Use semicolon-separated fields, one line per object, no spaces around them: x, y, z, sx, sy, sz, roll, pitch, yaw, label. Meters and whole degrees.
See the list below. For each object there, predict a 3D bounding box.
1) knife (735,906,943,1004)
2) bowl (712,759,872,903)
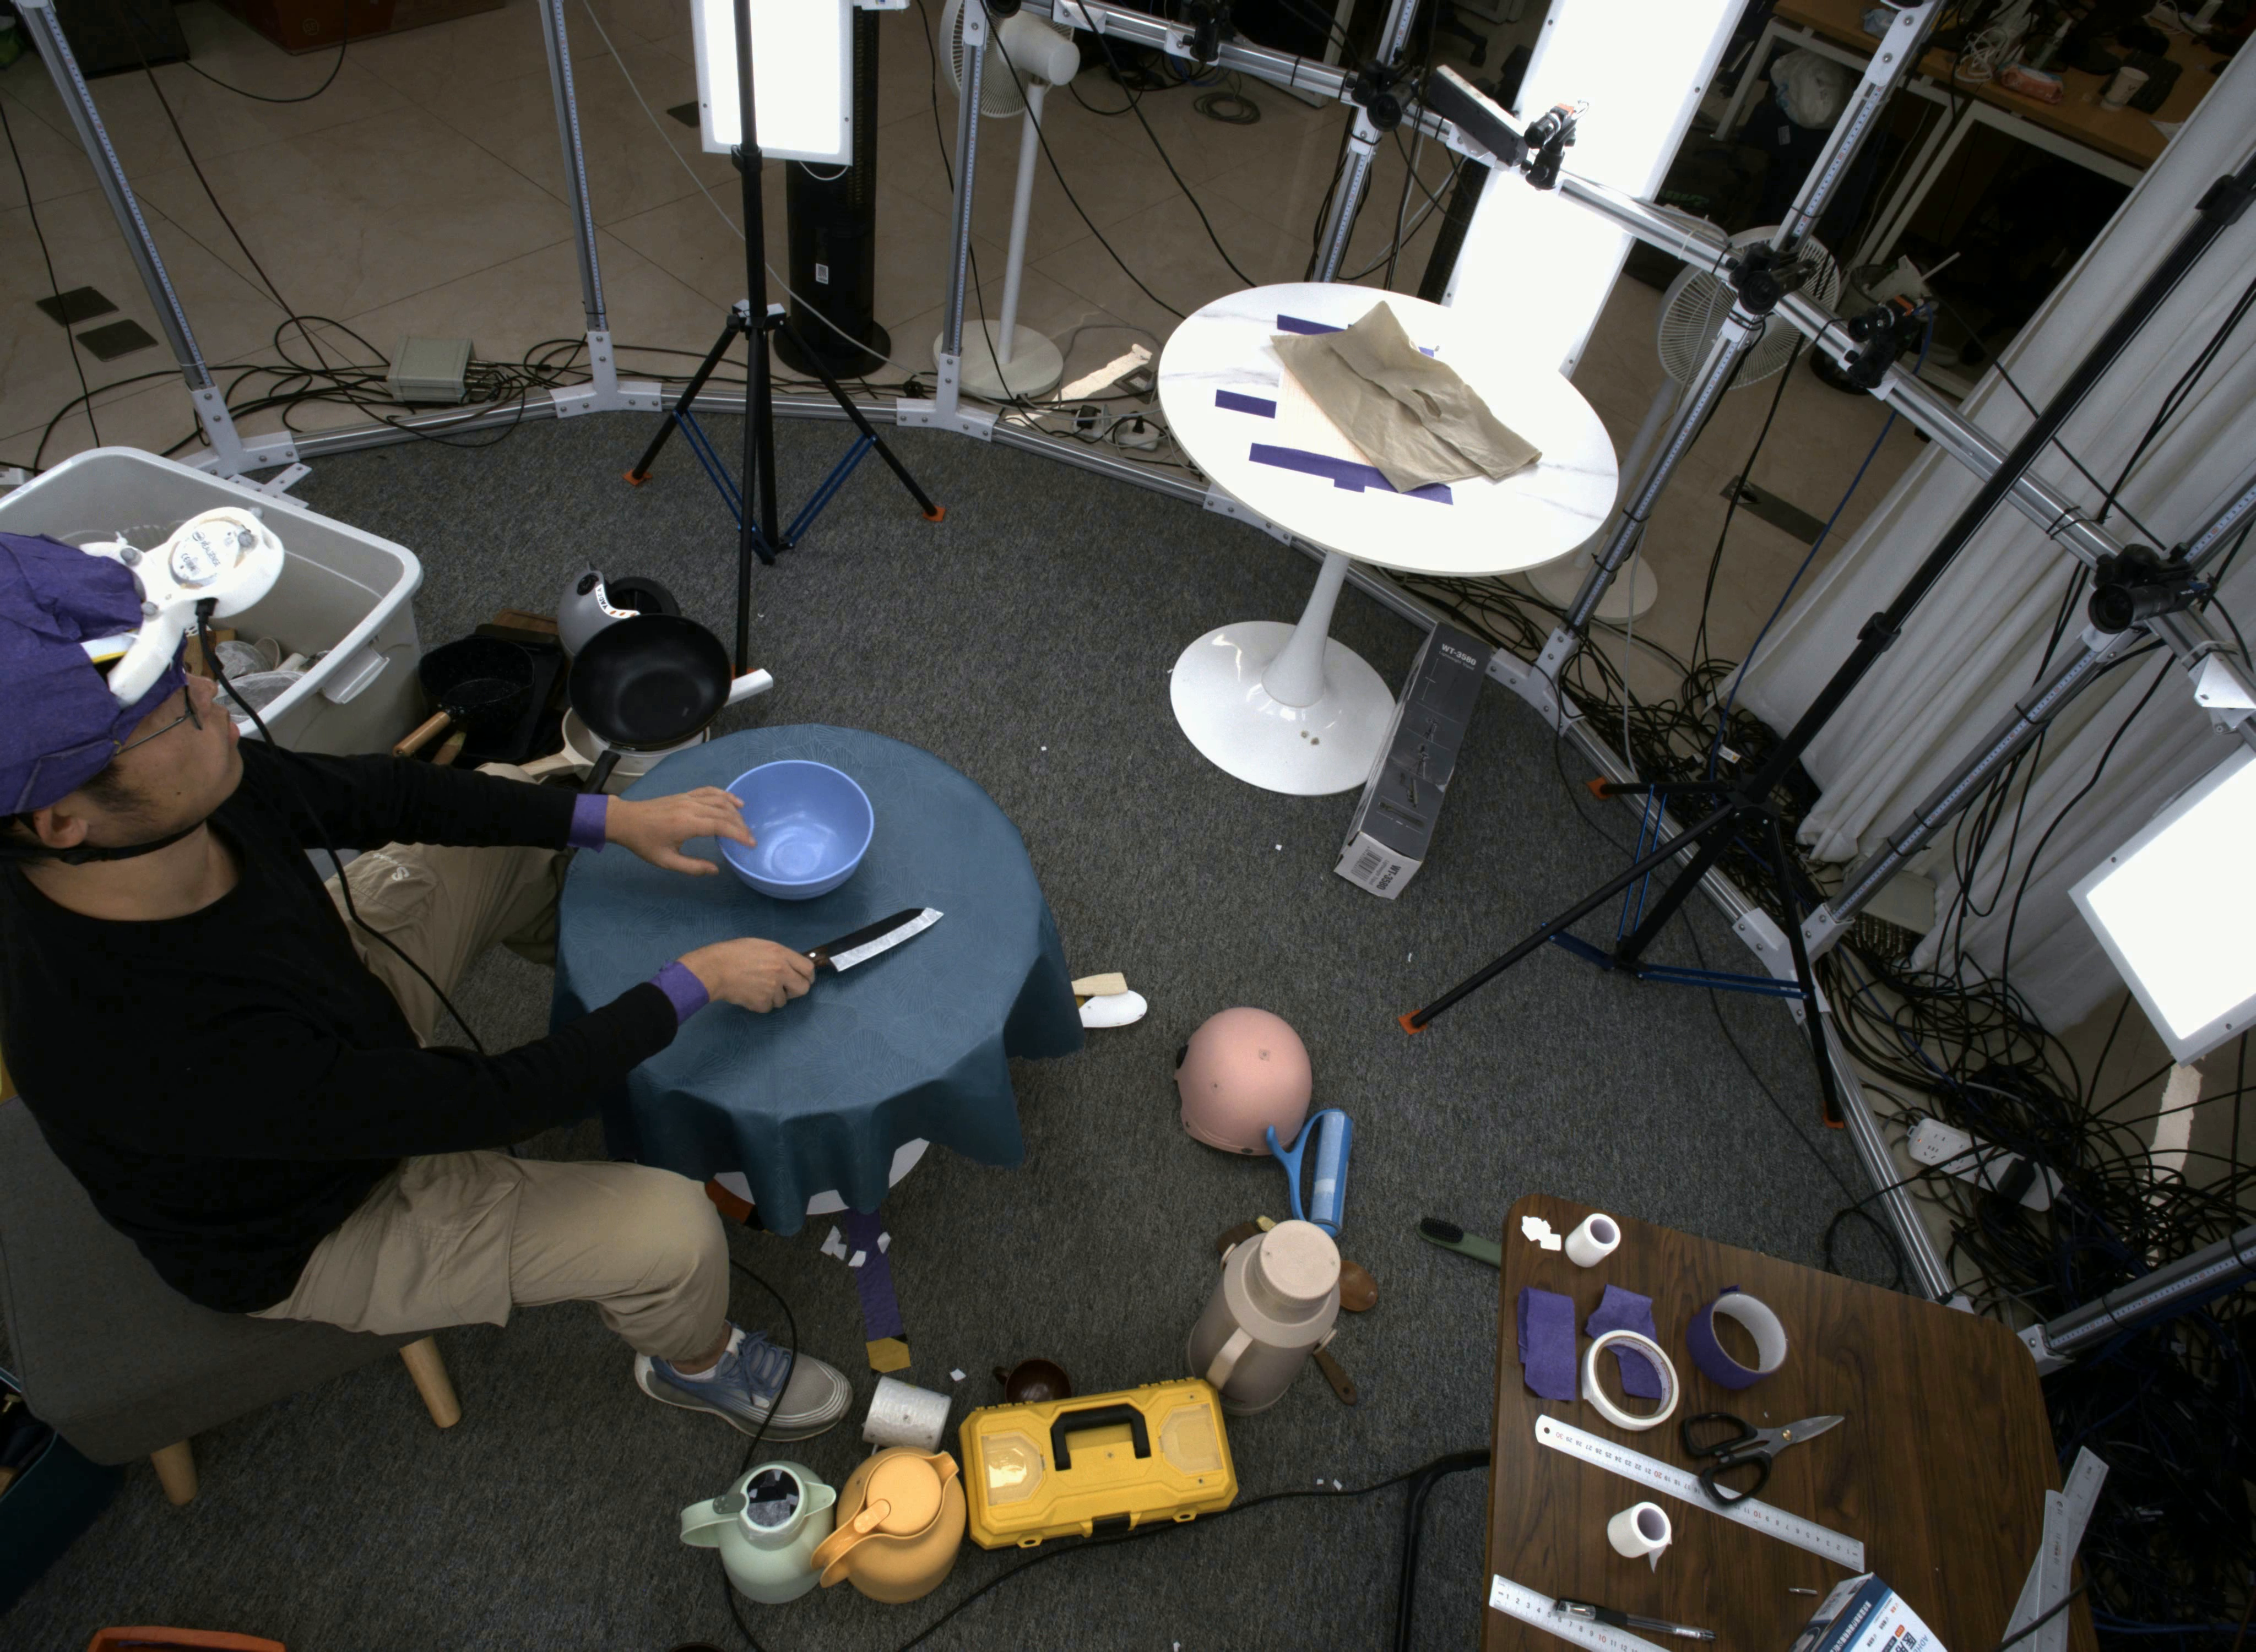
-0.349;0.152;1.599;0.291;0.020;0.049;-22;59;-37;knife
-0.423;0.021;1.648;0.196;0.097;0.193;7;54;-8;bowl
